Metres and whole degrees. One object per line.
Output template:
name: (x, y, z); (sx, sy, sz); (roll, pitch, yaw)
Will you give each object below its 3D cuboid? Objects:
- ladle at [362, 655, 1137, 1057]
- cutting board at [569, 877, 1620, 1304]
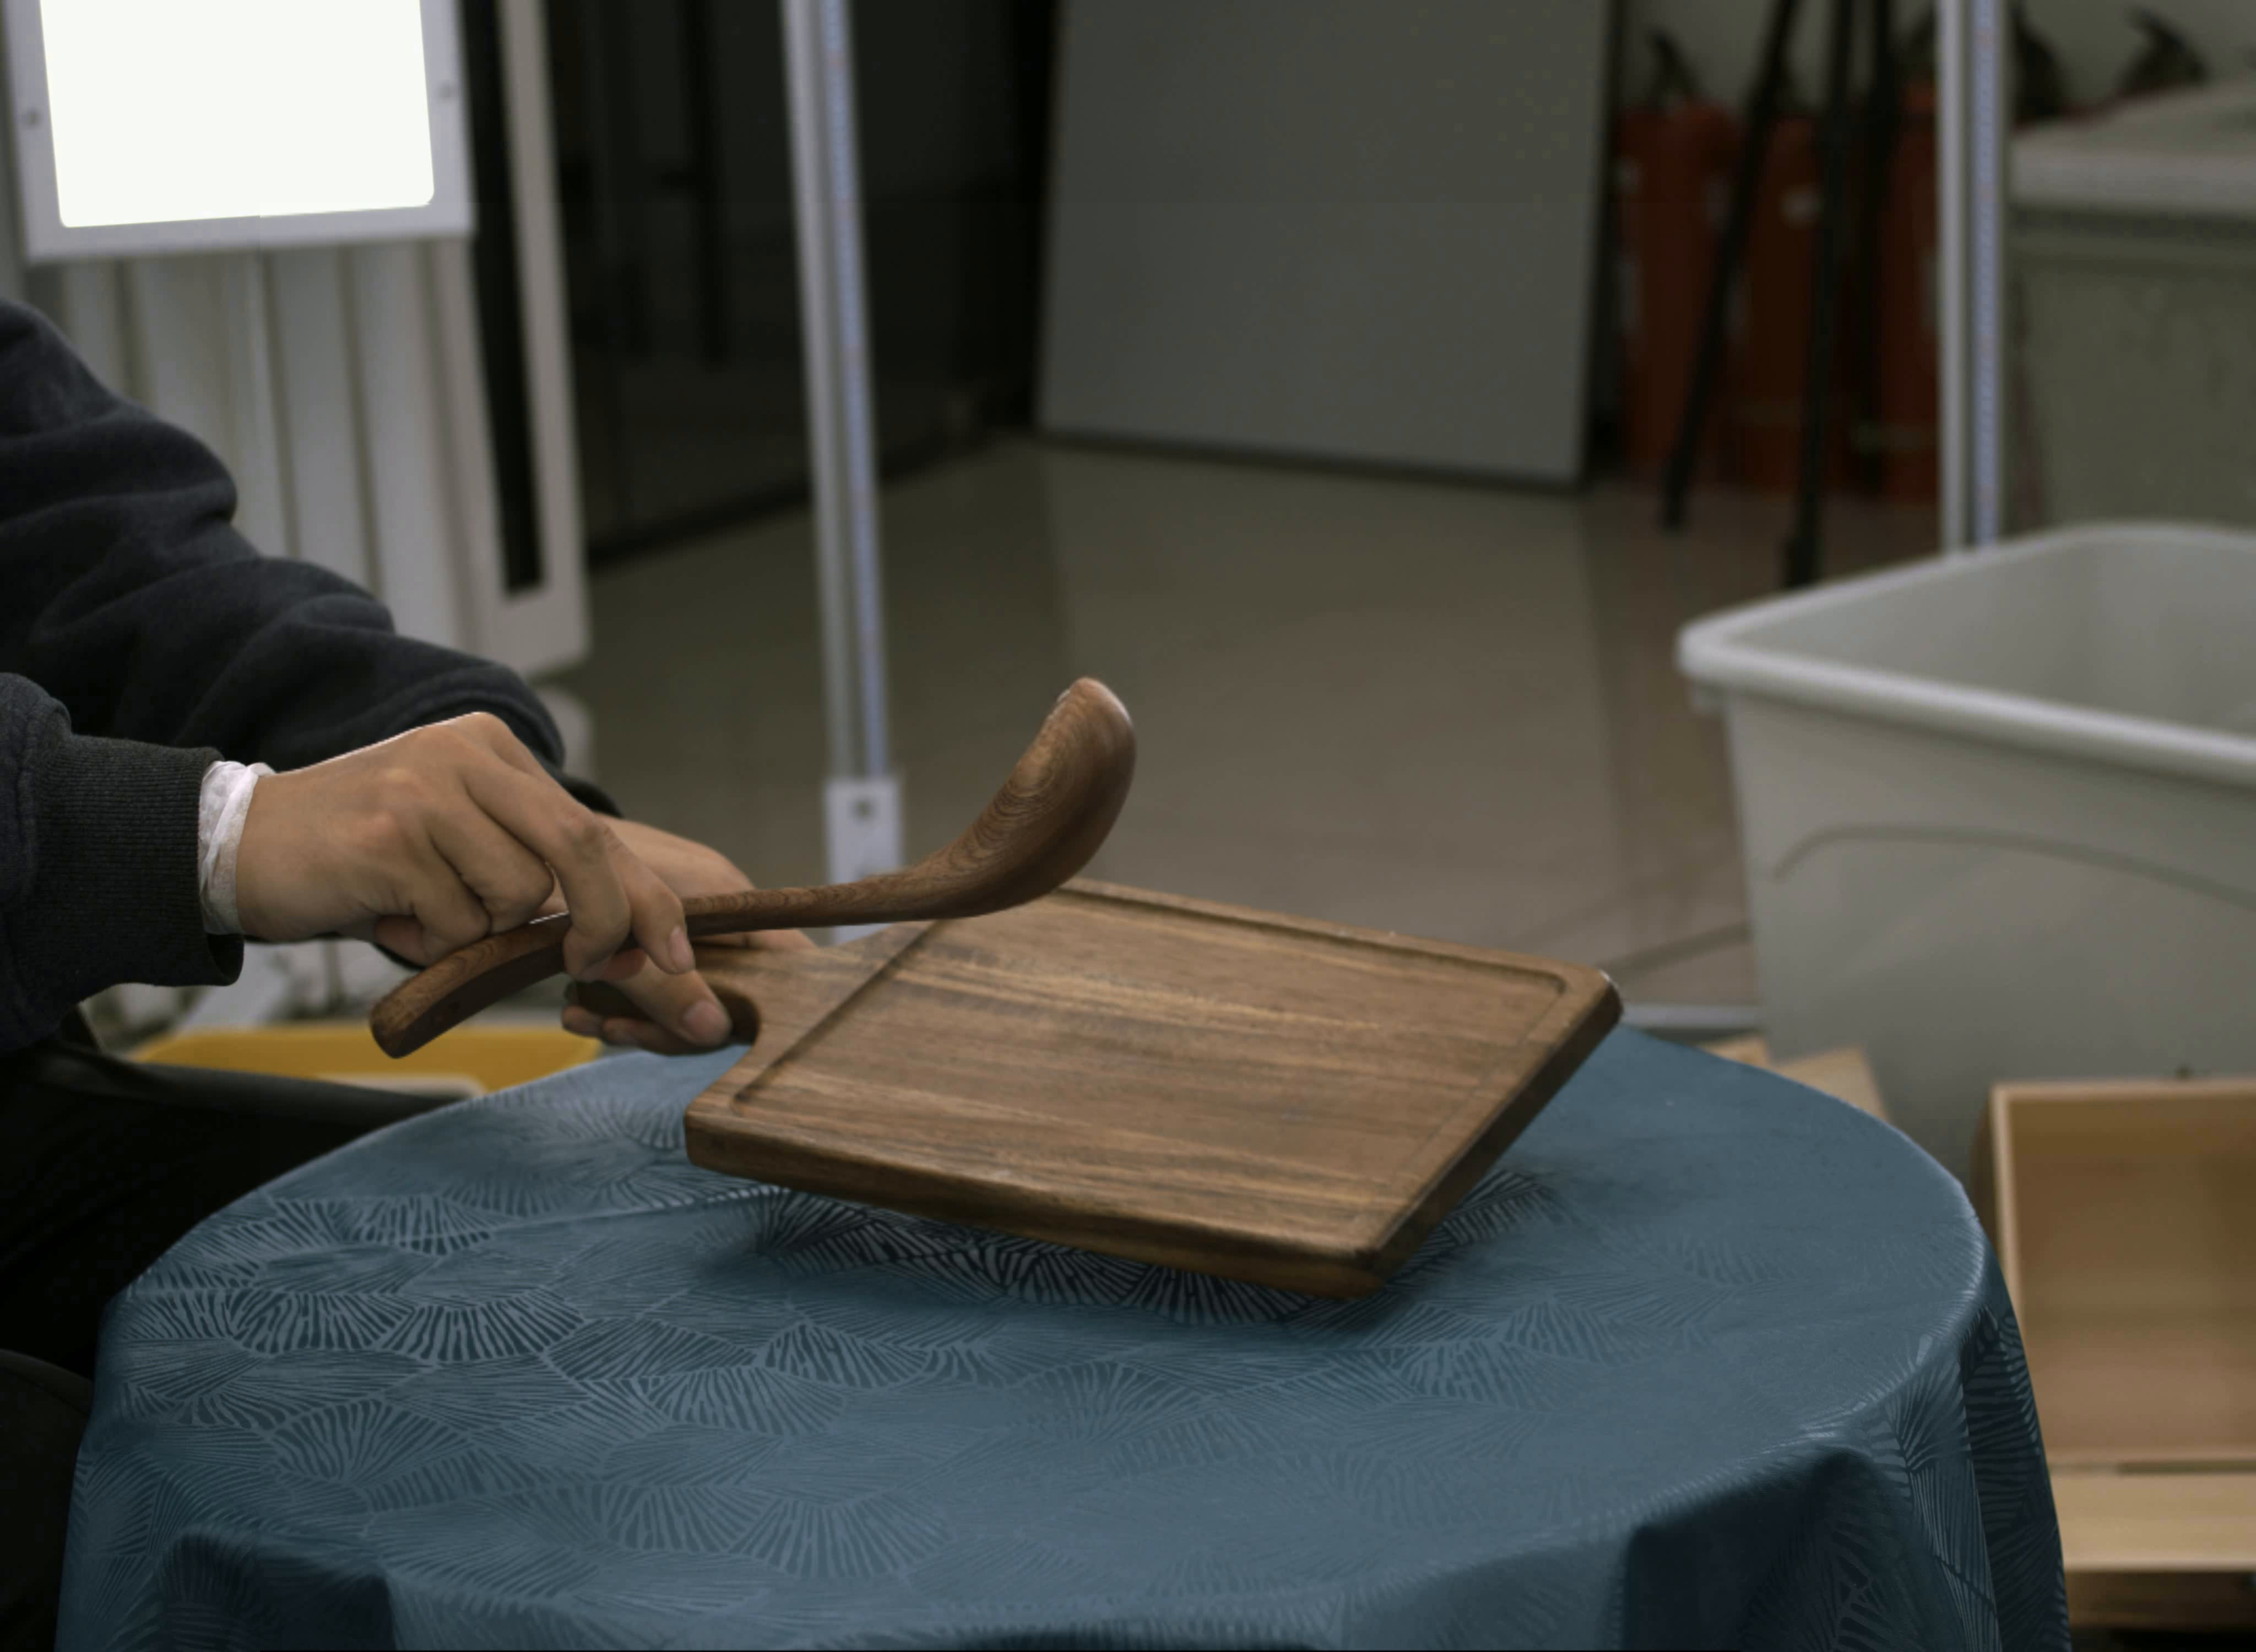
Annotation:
ladle: (-0.113, 0.010, 1.627); (0.255, 0.077, 0.066); (-15, 57, -16)
cutting board: (-0.032, 0.072, 1.764); (0.353, 0.023, 0.198); (9, 29, 28)
